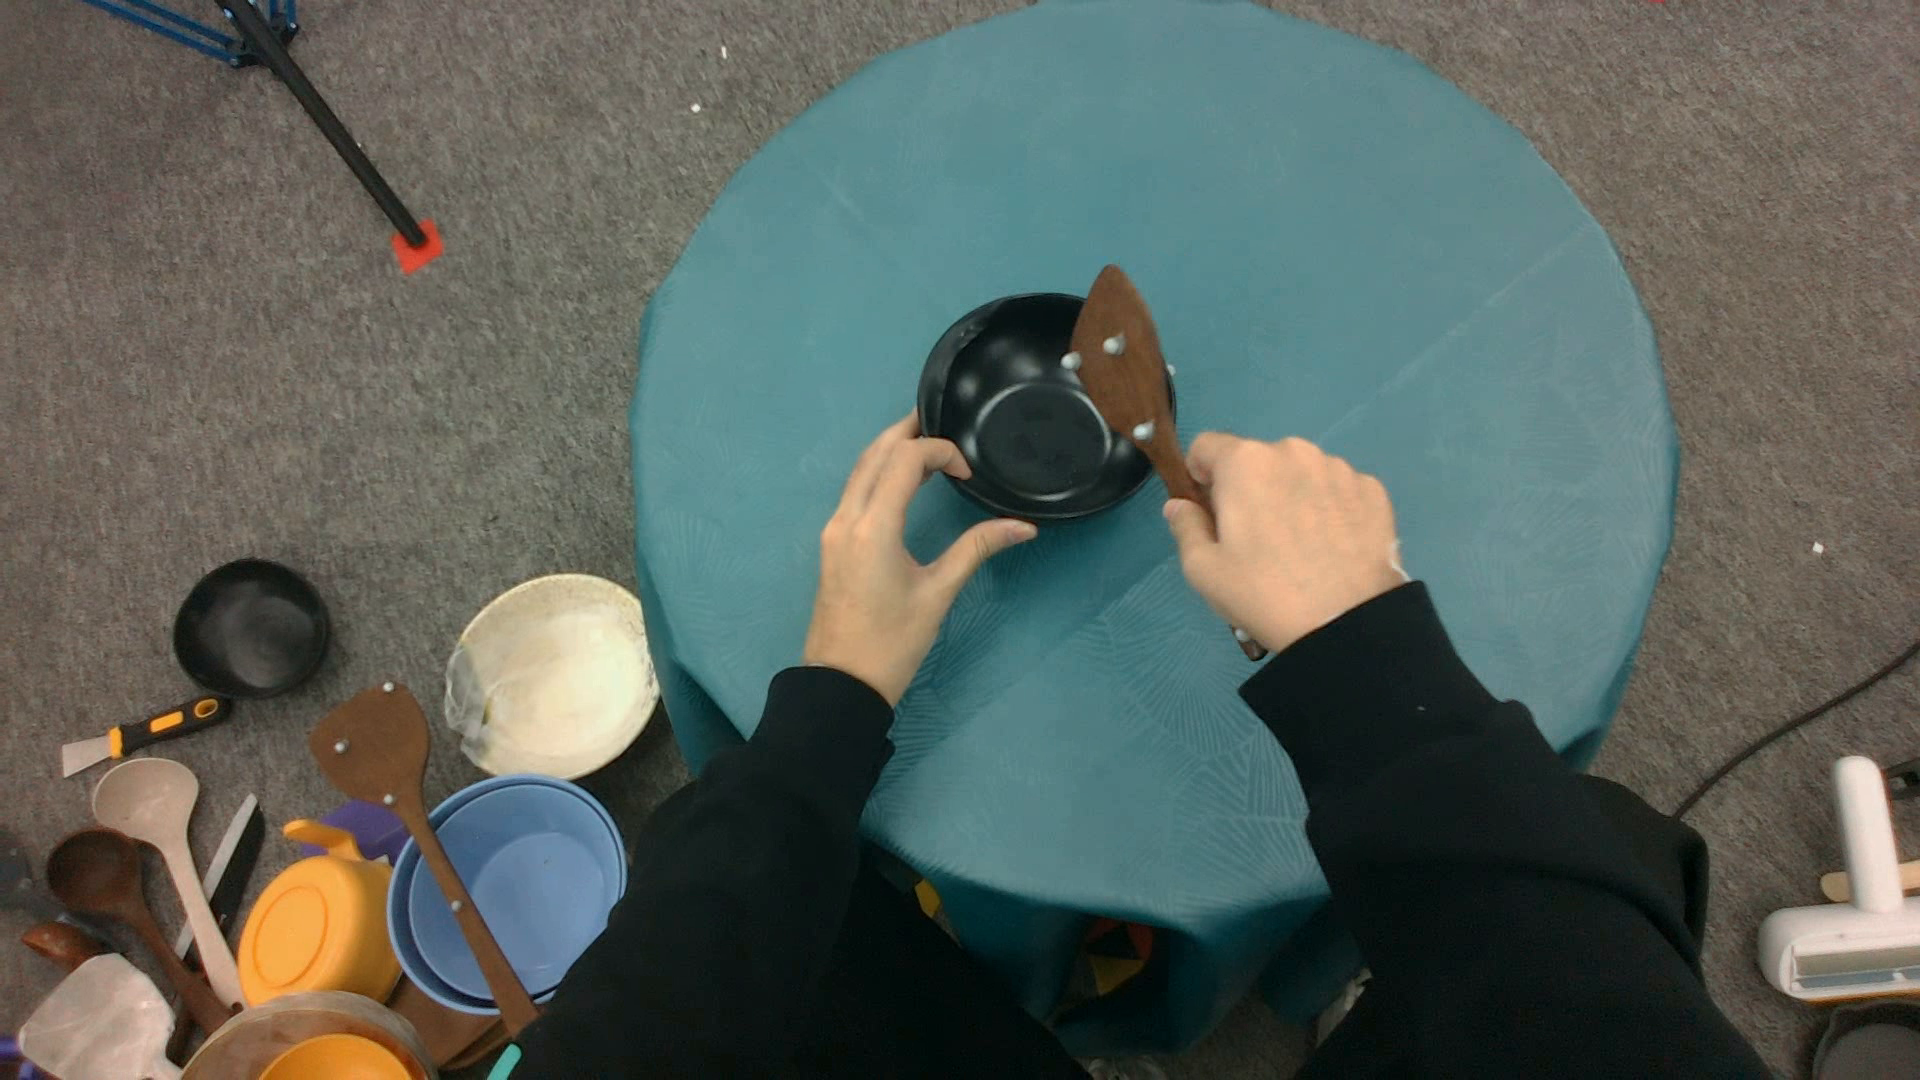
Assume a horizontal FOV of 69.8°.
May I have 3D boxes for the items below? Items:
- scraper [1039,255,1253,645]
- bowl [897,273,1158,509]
[{"bbox_3d":[0.088,-0.042,0.659,0.011,0.075,0.212,-13,59,-20],"label":"scraper"},{"bbox_3d":[0.035,-0.074,0.749,0.140,0.049,0.140,1,67,-3],"label":"bowl"}]
